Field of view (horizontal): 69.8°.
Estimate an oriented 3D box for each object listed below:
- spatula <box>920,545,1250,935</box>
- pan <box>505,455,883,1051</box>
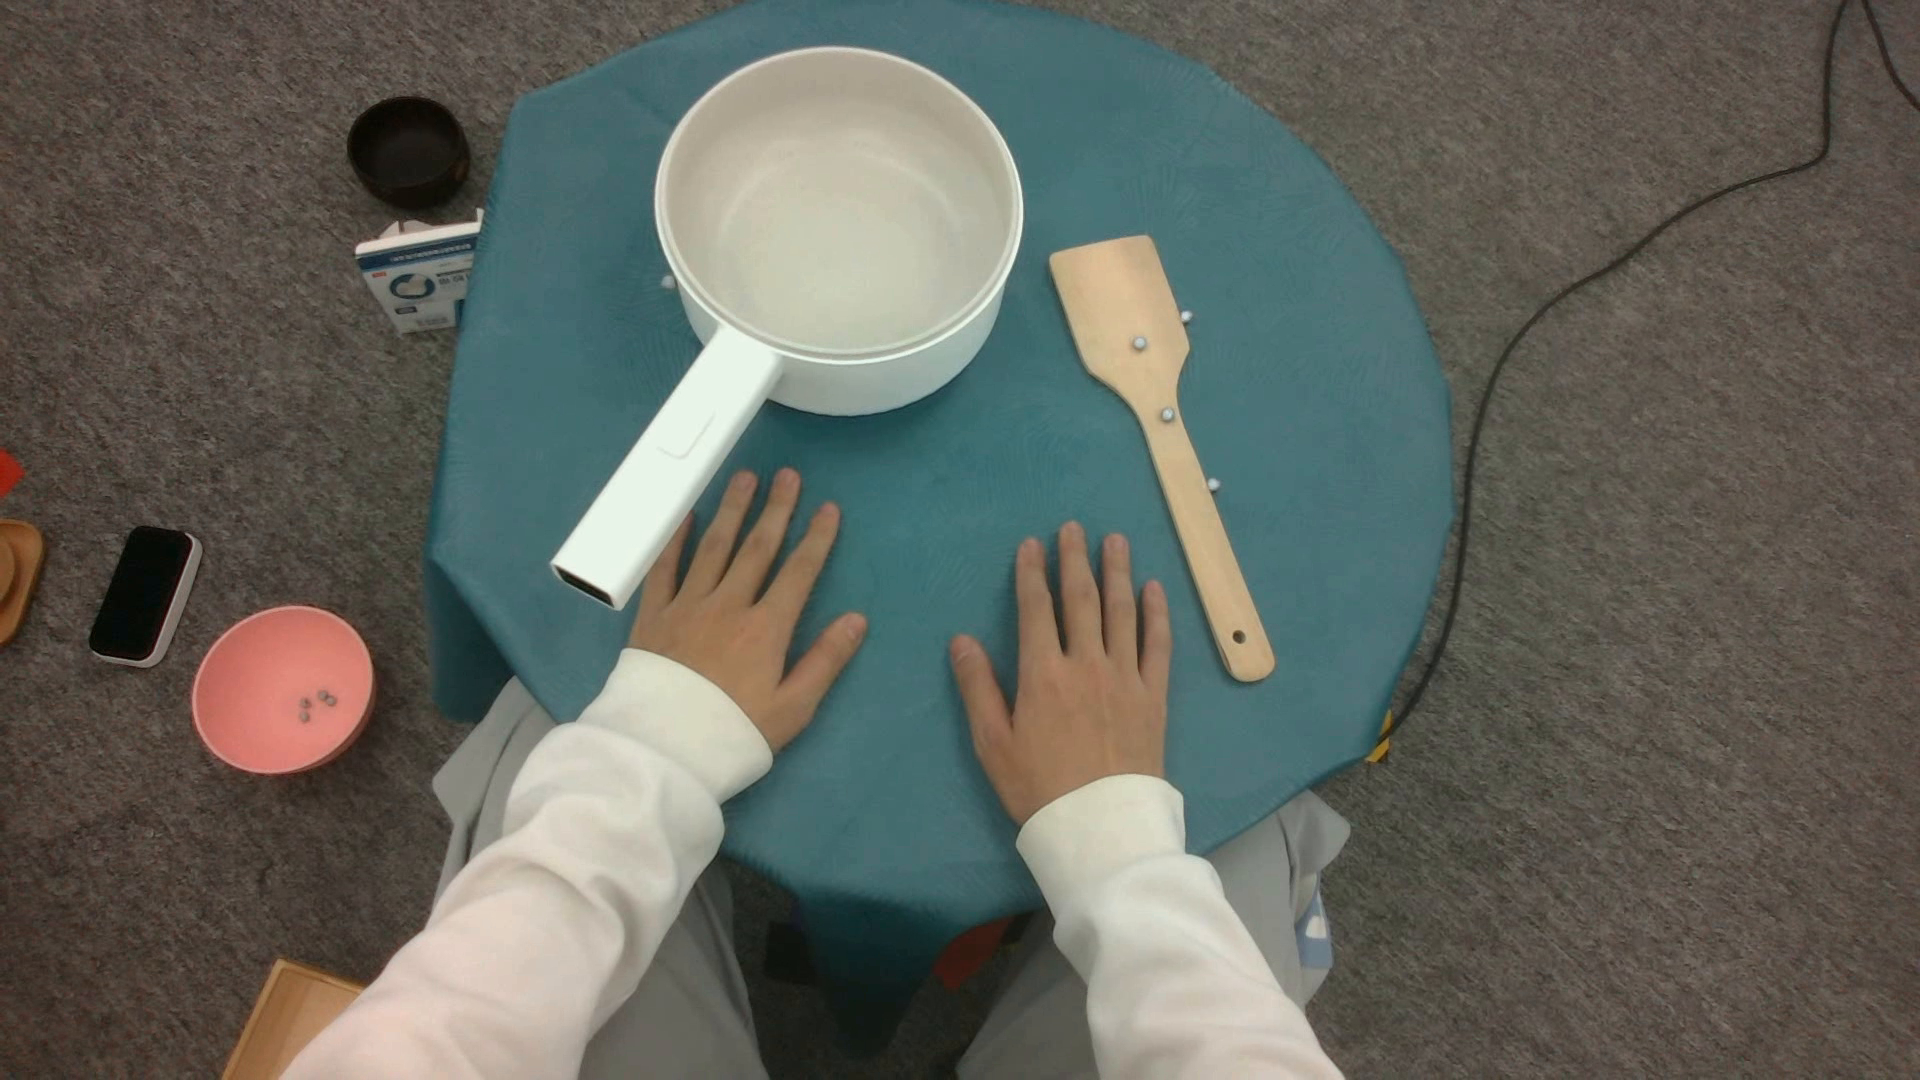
[{"bbox_3d":[0.079,0.117,0.844,0.072,0.010,0.293,-27,58,-18],"label":"spatula"},{"bbox_3d":[-0.162,0.118,0.795,0.201,0.101,0.356,10,57,7],"label":"pan"}]
